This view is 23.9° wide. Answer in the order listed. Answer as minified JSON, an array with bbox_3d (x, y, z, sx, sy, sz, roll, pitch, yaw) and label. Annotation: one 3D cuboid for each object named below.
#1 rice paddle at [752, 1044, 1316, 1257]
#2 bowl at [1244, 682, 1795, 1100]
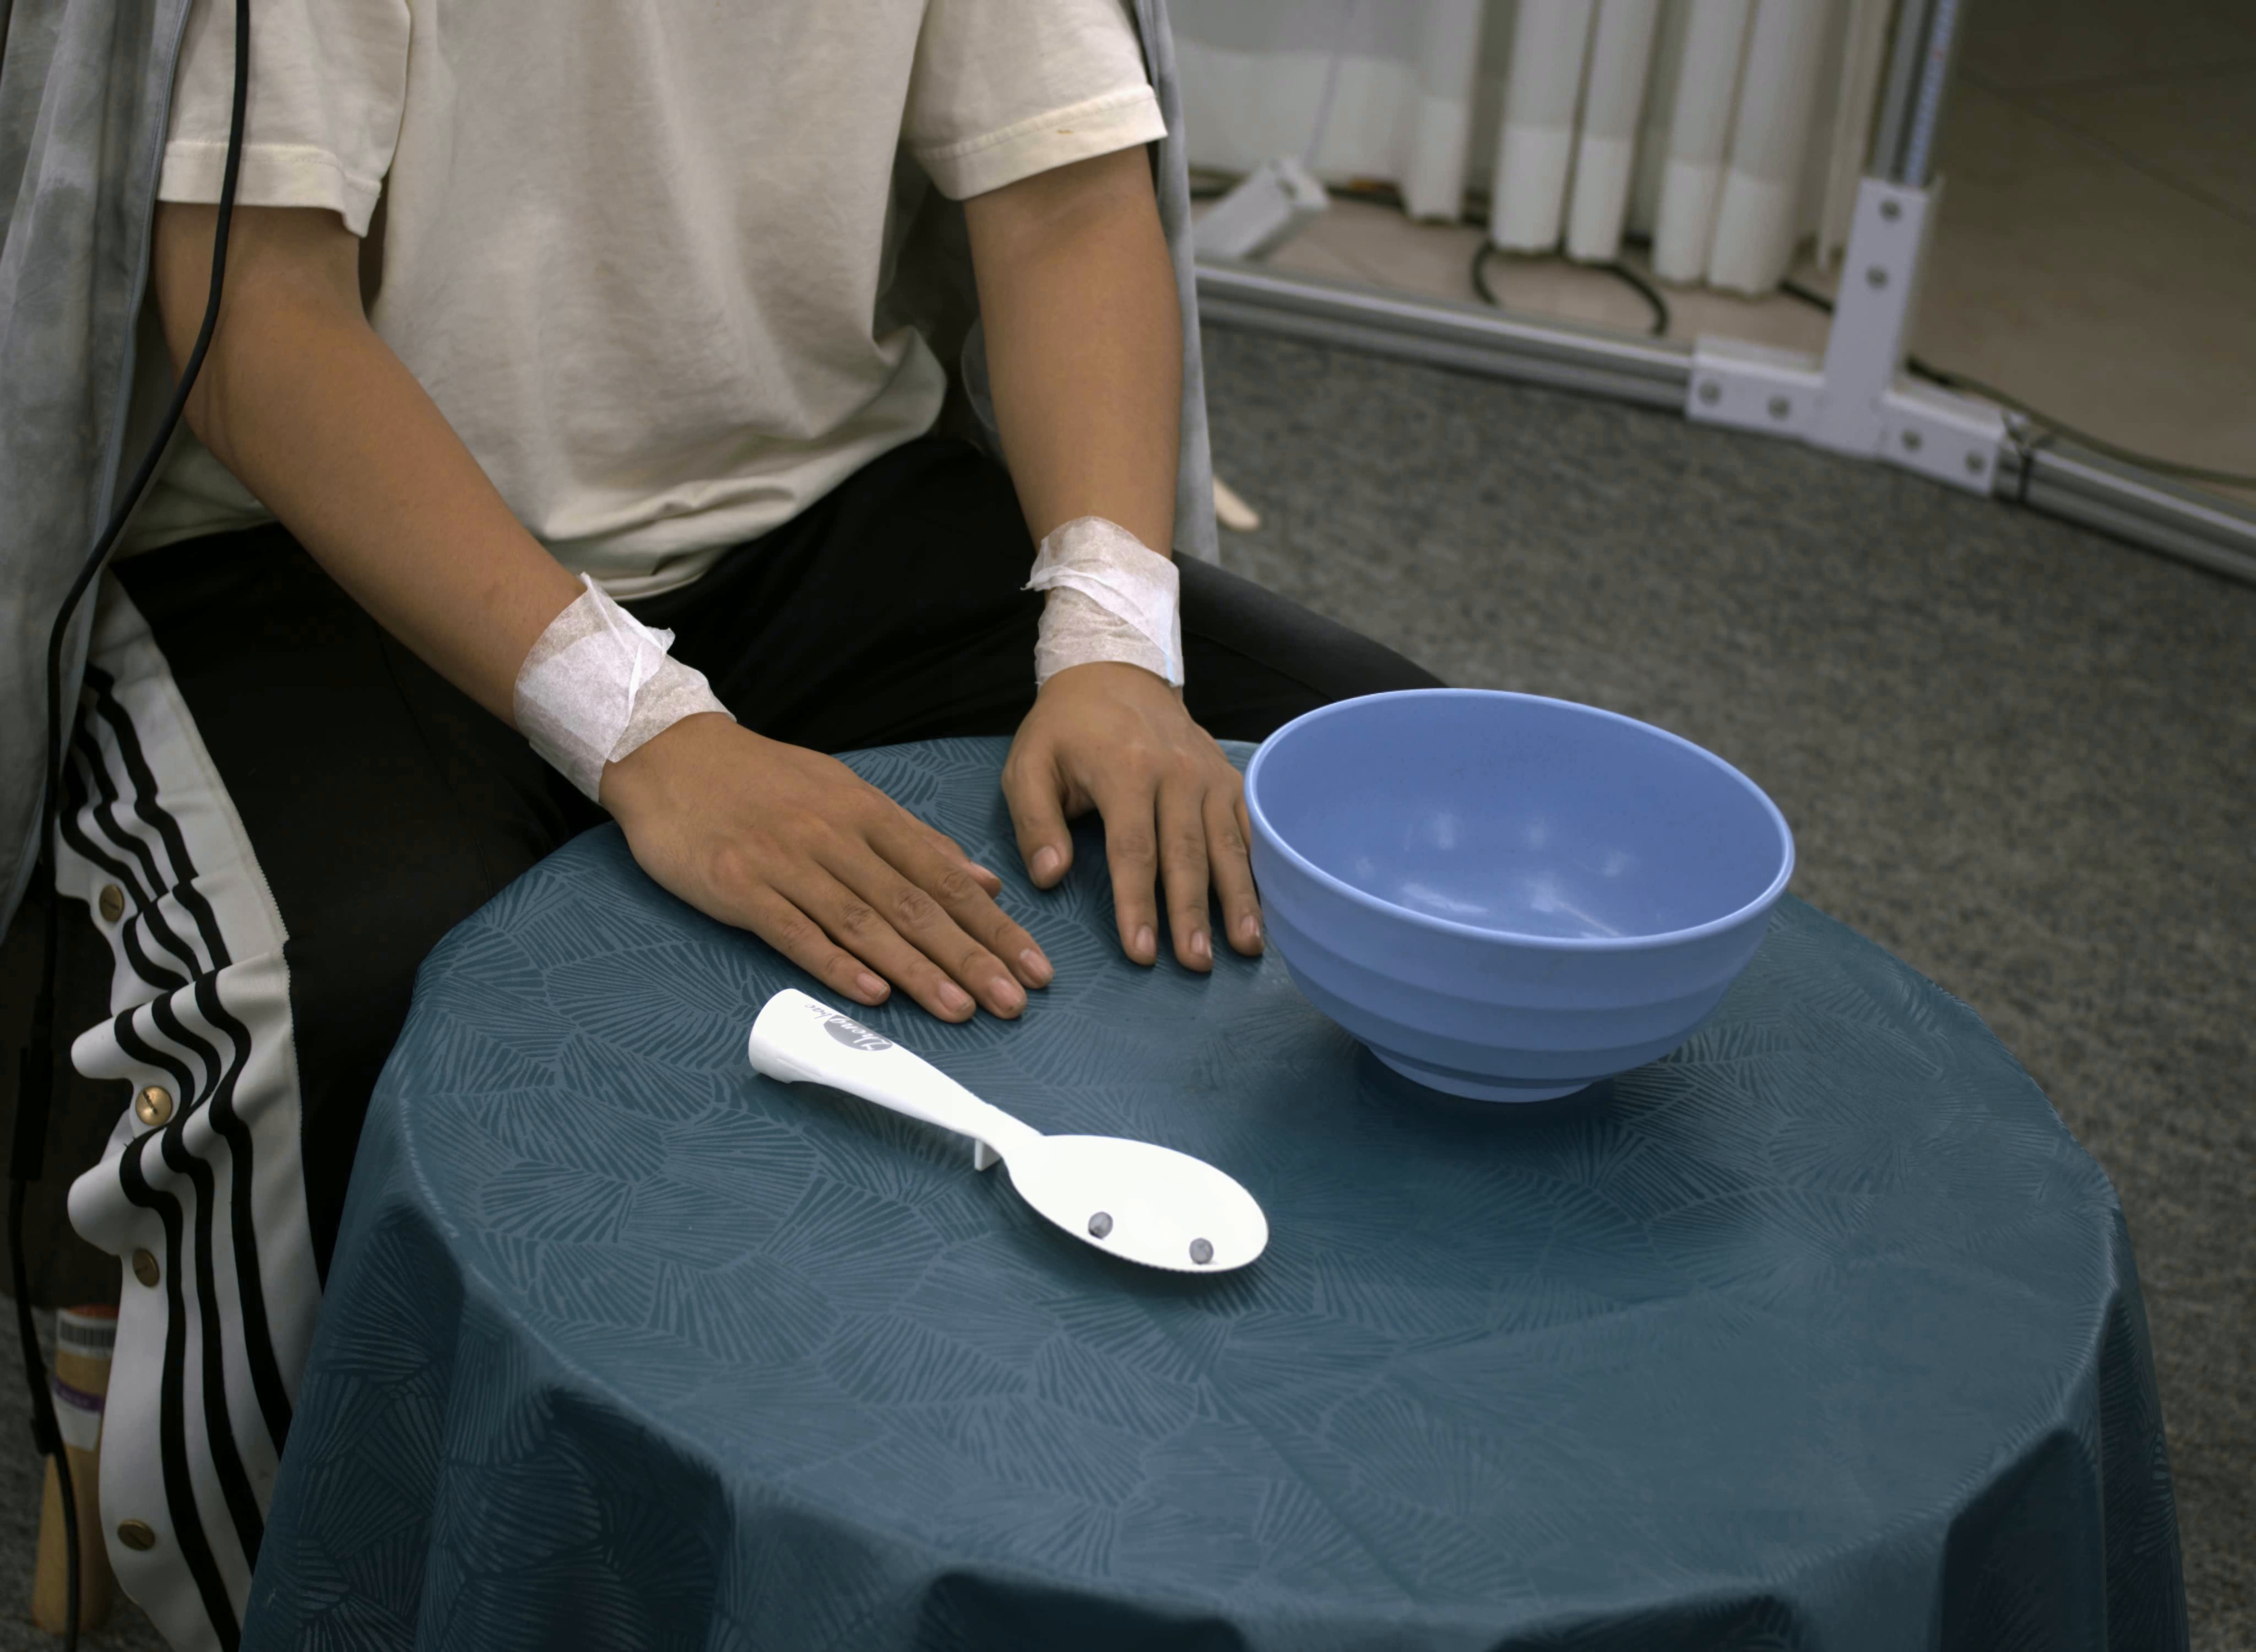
[{"bbox_3d":[-0.031,0.113,1.797,0.206,0.029,0.068,14,15,22],"label":"rice paddle"},{"bbox_3d":[0.134,0.034,1.904,0.196,0.095,0.198,5,29,-3],"label":"bowl"}]
